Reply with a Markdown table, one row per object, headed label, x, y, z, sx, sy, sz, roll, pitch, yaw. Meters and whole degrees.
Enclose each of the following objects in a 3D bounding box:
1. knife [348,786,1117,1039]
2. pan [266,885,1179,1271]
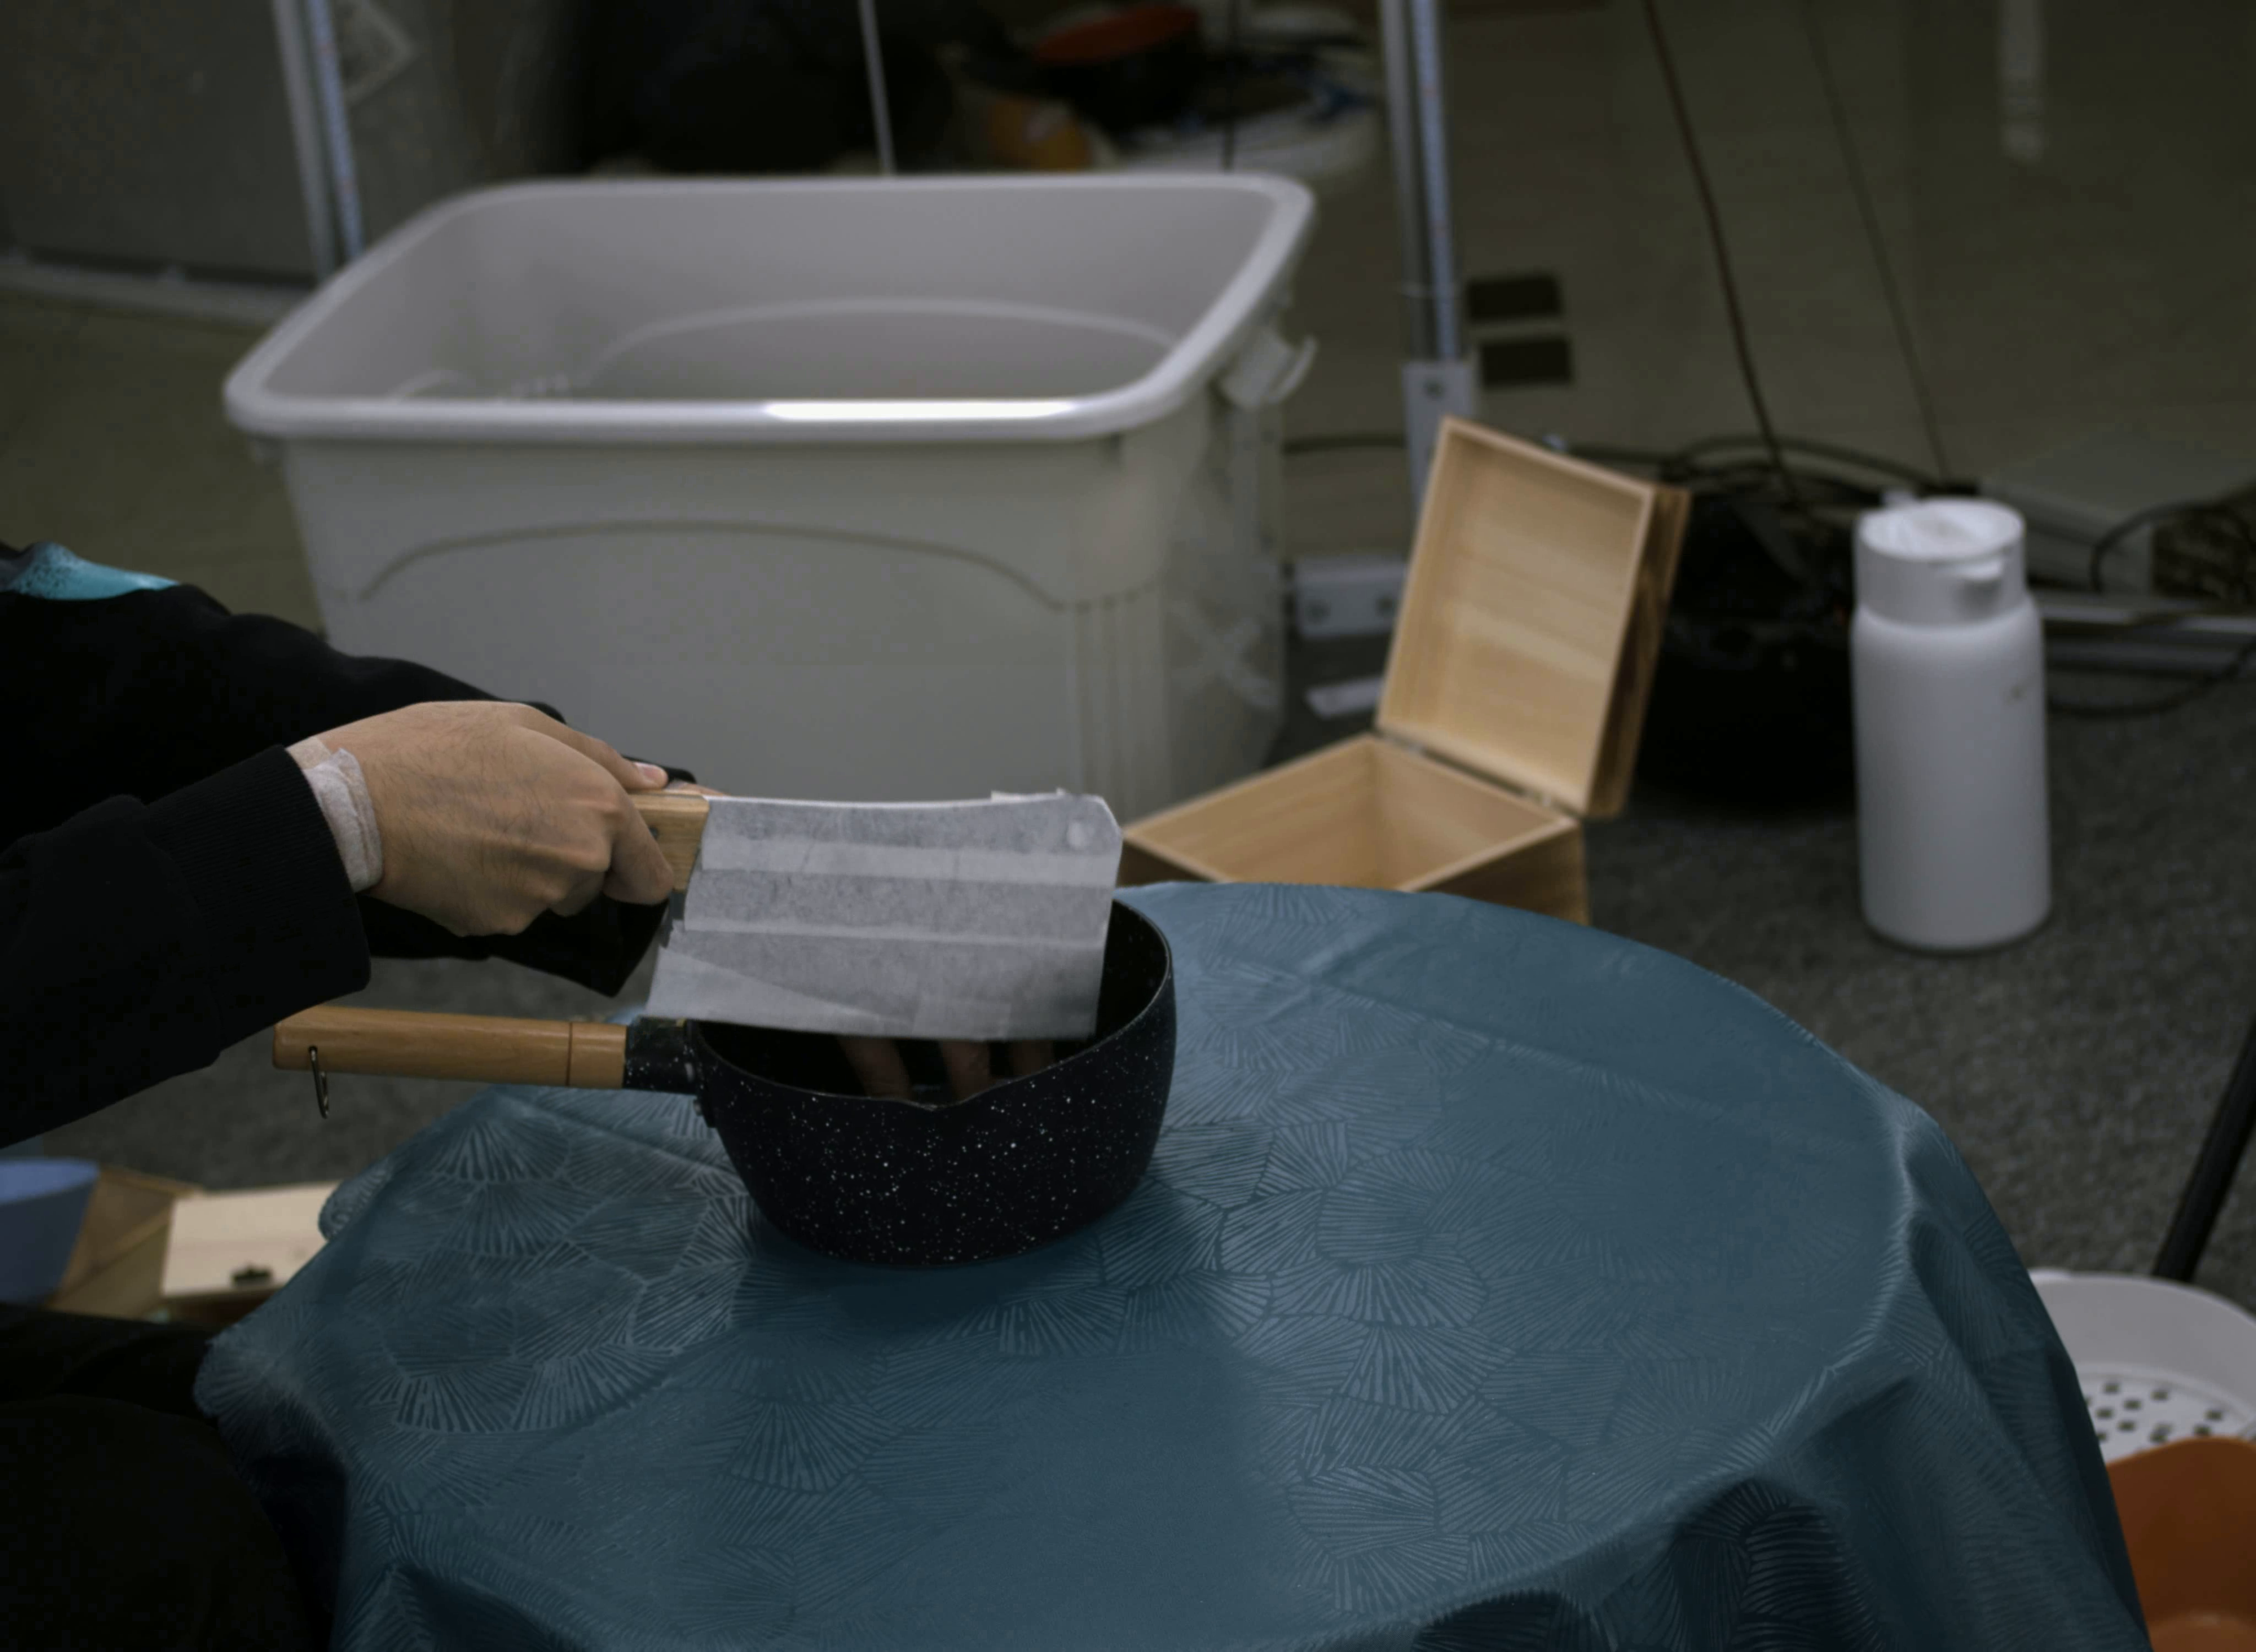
| label | x | y | z | sx | sy | sz | roll | pitch | yaw |
| --- | --- | --- | --- | --- | --- | --- | --- | --- | --- |
| knife | -0.139 | 0.024 | 2.087 | 0.316 | 0.115 | 0.021 | 8 | 17 | -29 |
| pan | -0.149 | 0.096 | 2.144 | 0.342 | 0.110 | 0.204 | -7 | 26 | -4 |
